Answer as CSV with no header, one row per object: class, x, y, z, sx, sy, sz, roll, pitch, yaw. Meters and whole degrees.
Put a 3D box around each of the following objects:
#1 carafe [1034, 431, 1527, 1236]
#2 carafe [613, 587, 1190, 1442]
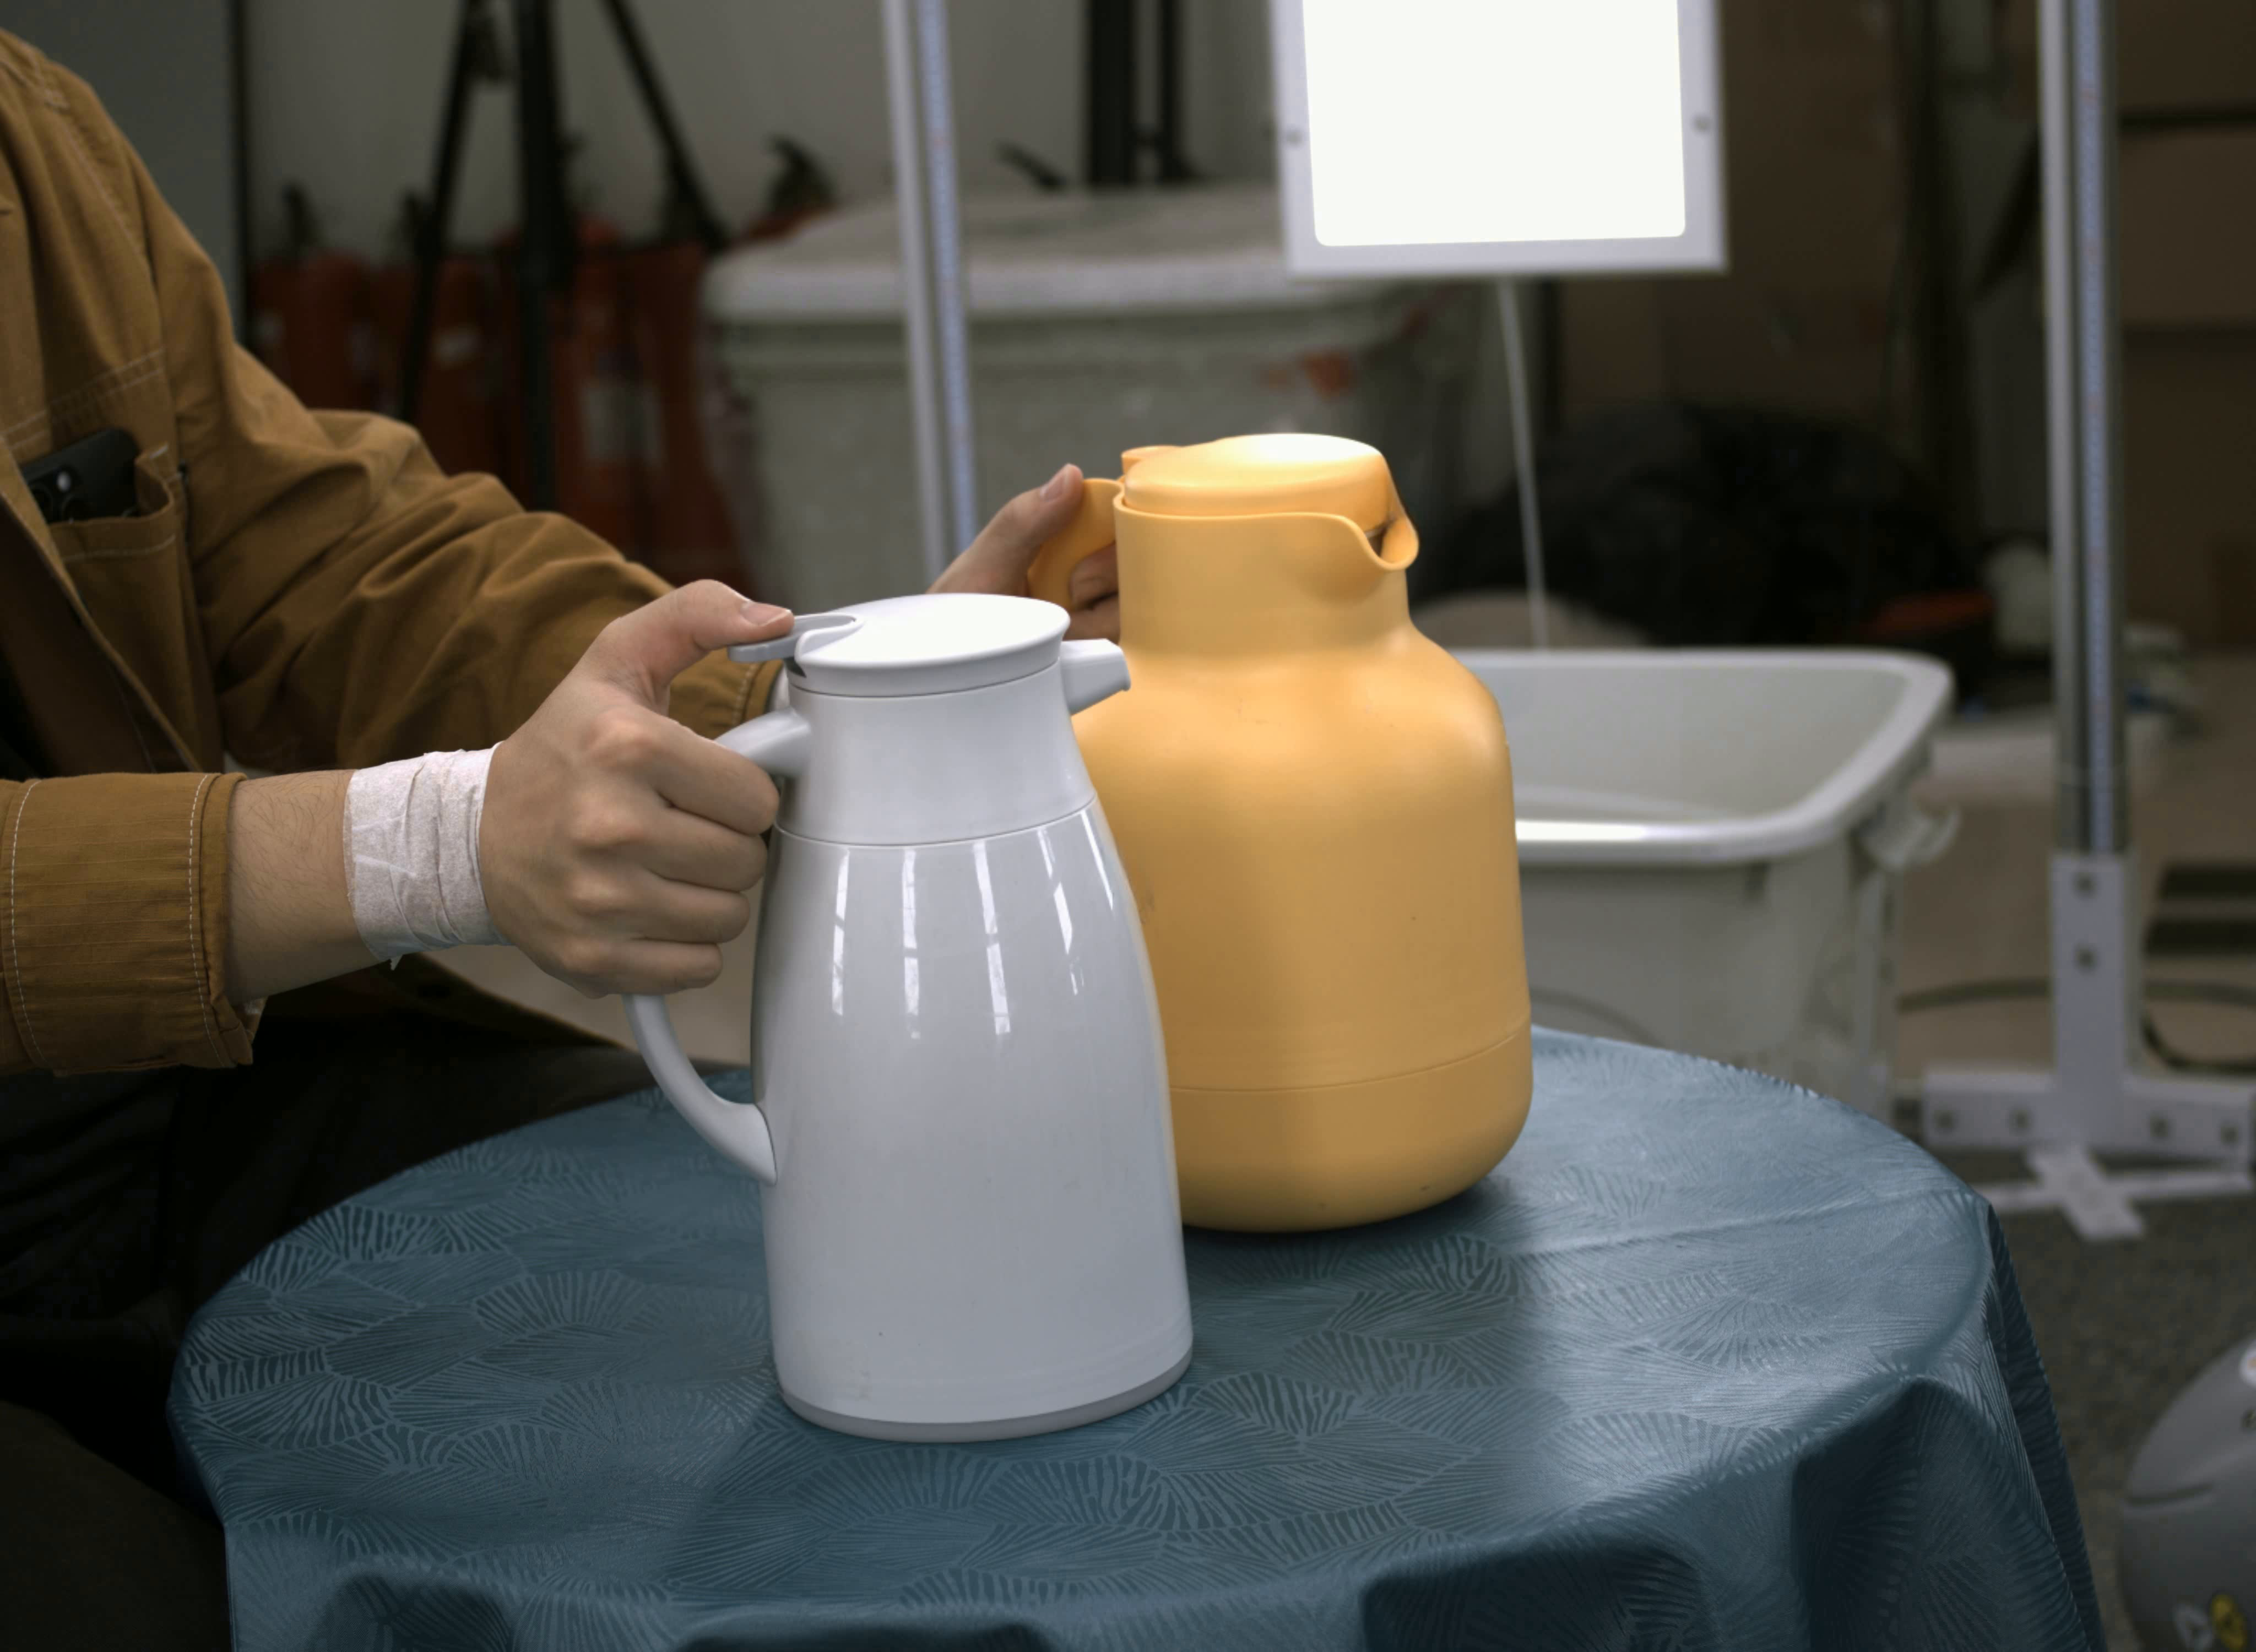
carafe,0.041,-0.005,1.876,0.159,0.261,0.206,-12,17,-32
carafe,-0.072,0.054,1.697,0.165,0.249,0.134,-9,14,-15
